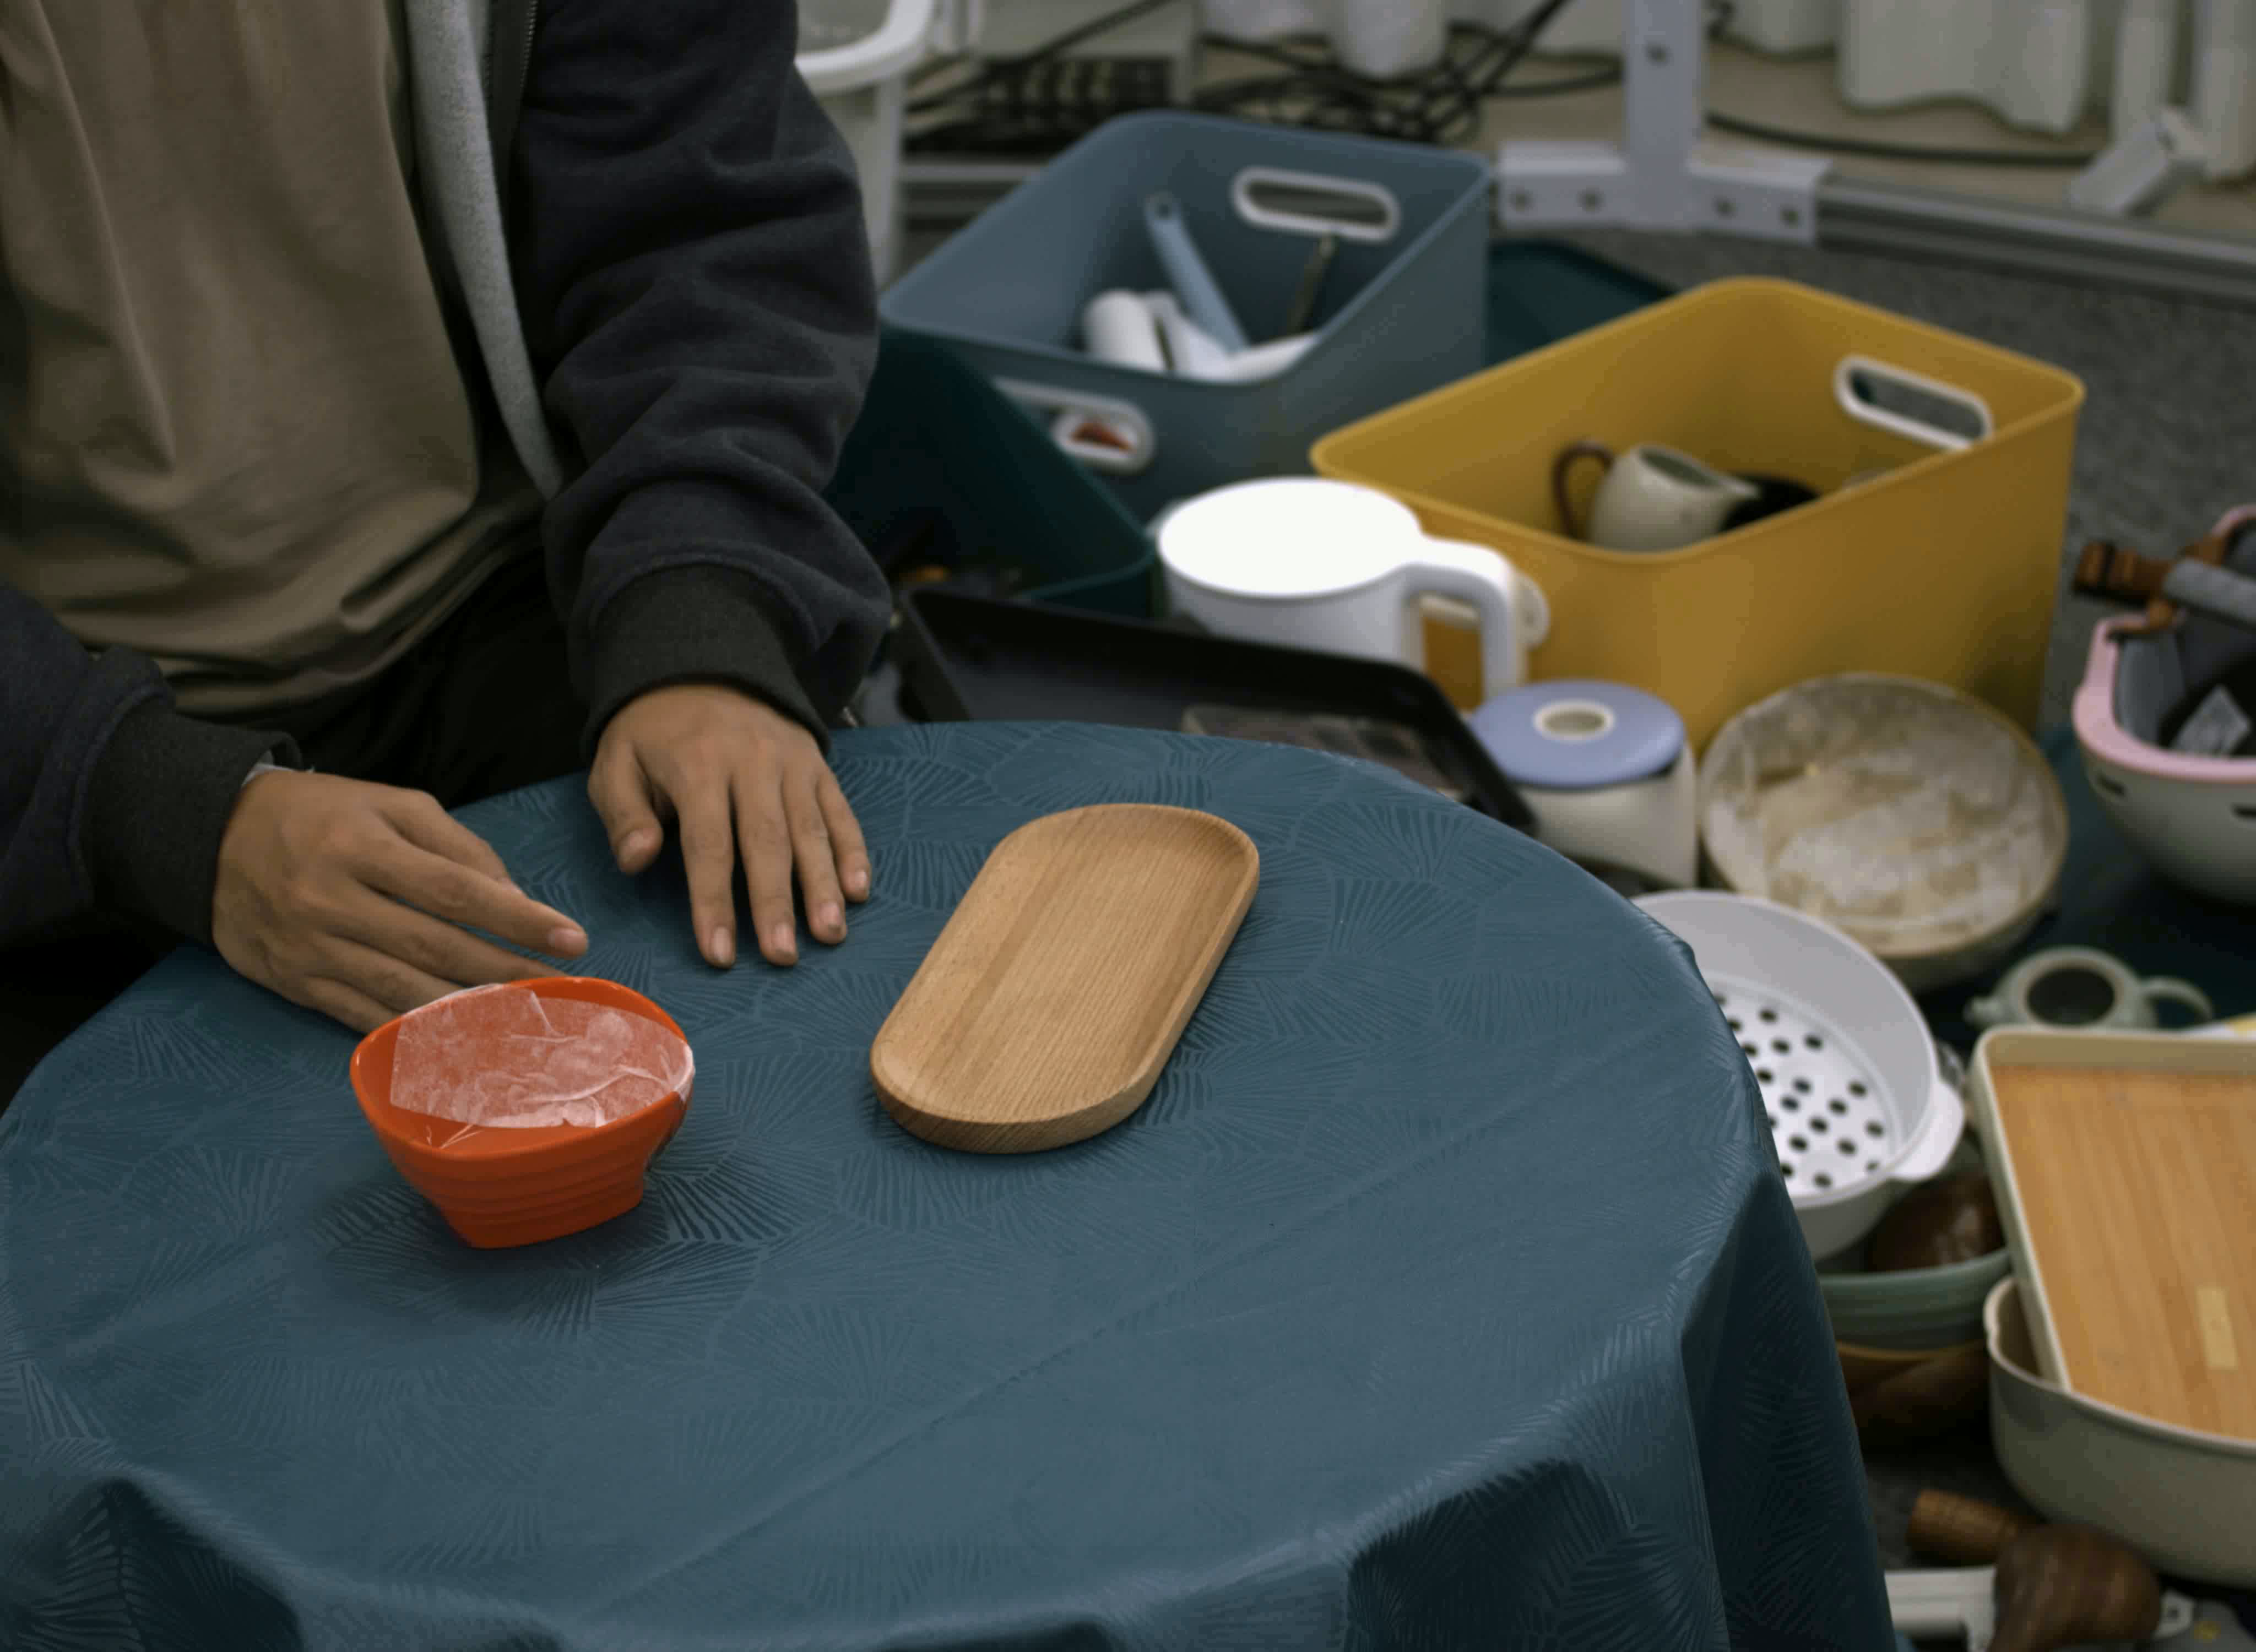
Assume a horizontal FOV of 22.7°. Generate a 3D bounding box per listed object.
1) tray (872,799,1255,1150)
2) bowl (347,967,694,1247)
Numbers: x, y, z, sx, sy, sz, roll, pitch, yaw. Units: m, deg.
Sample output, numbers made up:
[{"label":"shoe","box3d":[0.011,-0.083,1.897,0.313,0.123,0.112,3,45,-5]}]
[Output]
[{"label":"tray","box3d":[-0.021,0.050,1.984,0.101,0.020,0.235,5,28,14]},{"label":"bowl","box3d":[-0.200,0.098,1.868,0.118,0.051,0.121,-2,29,2]}]
